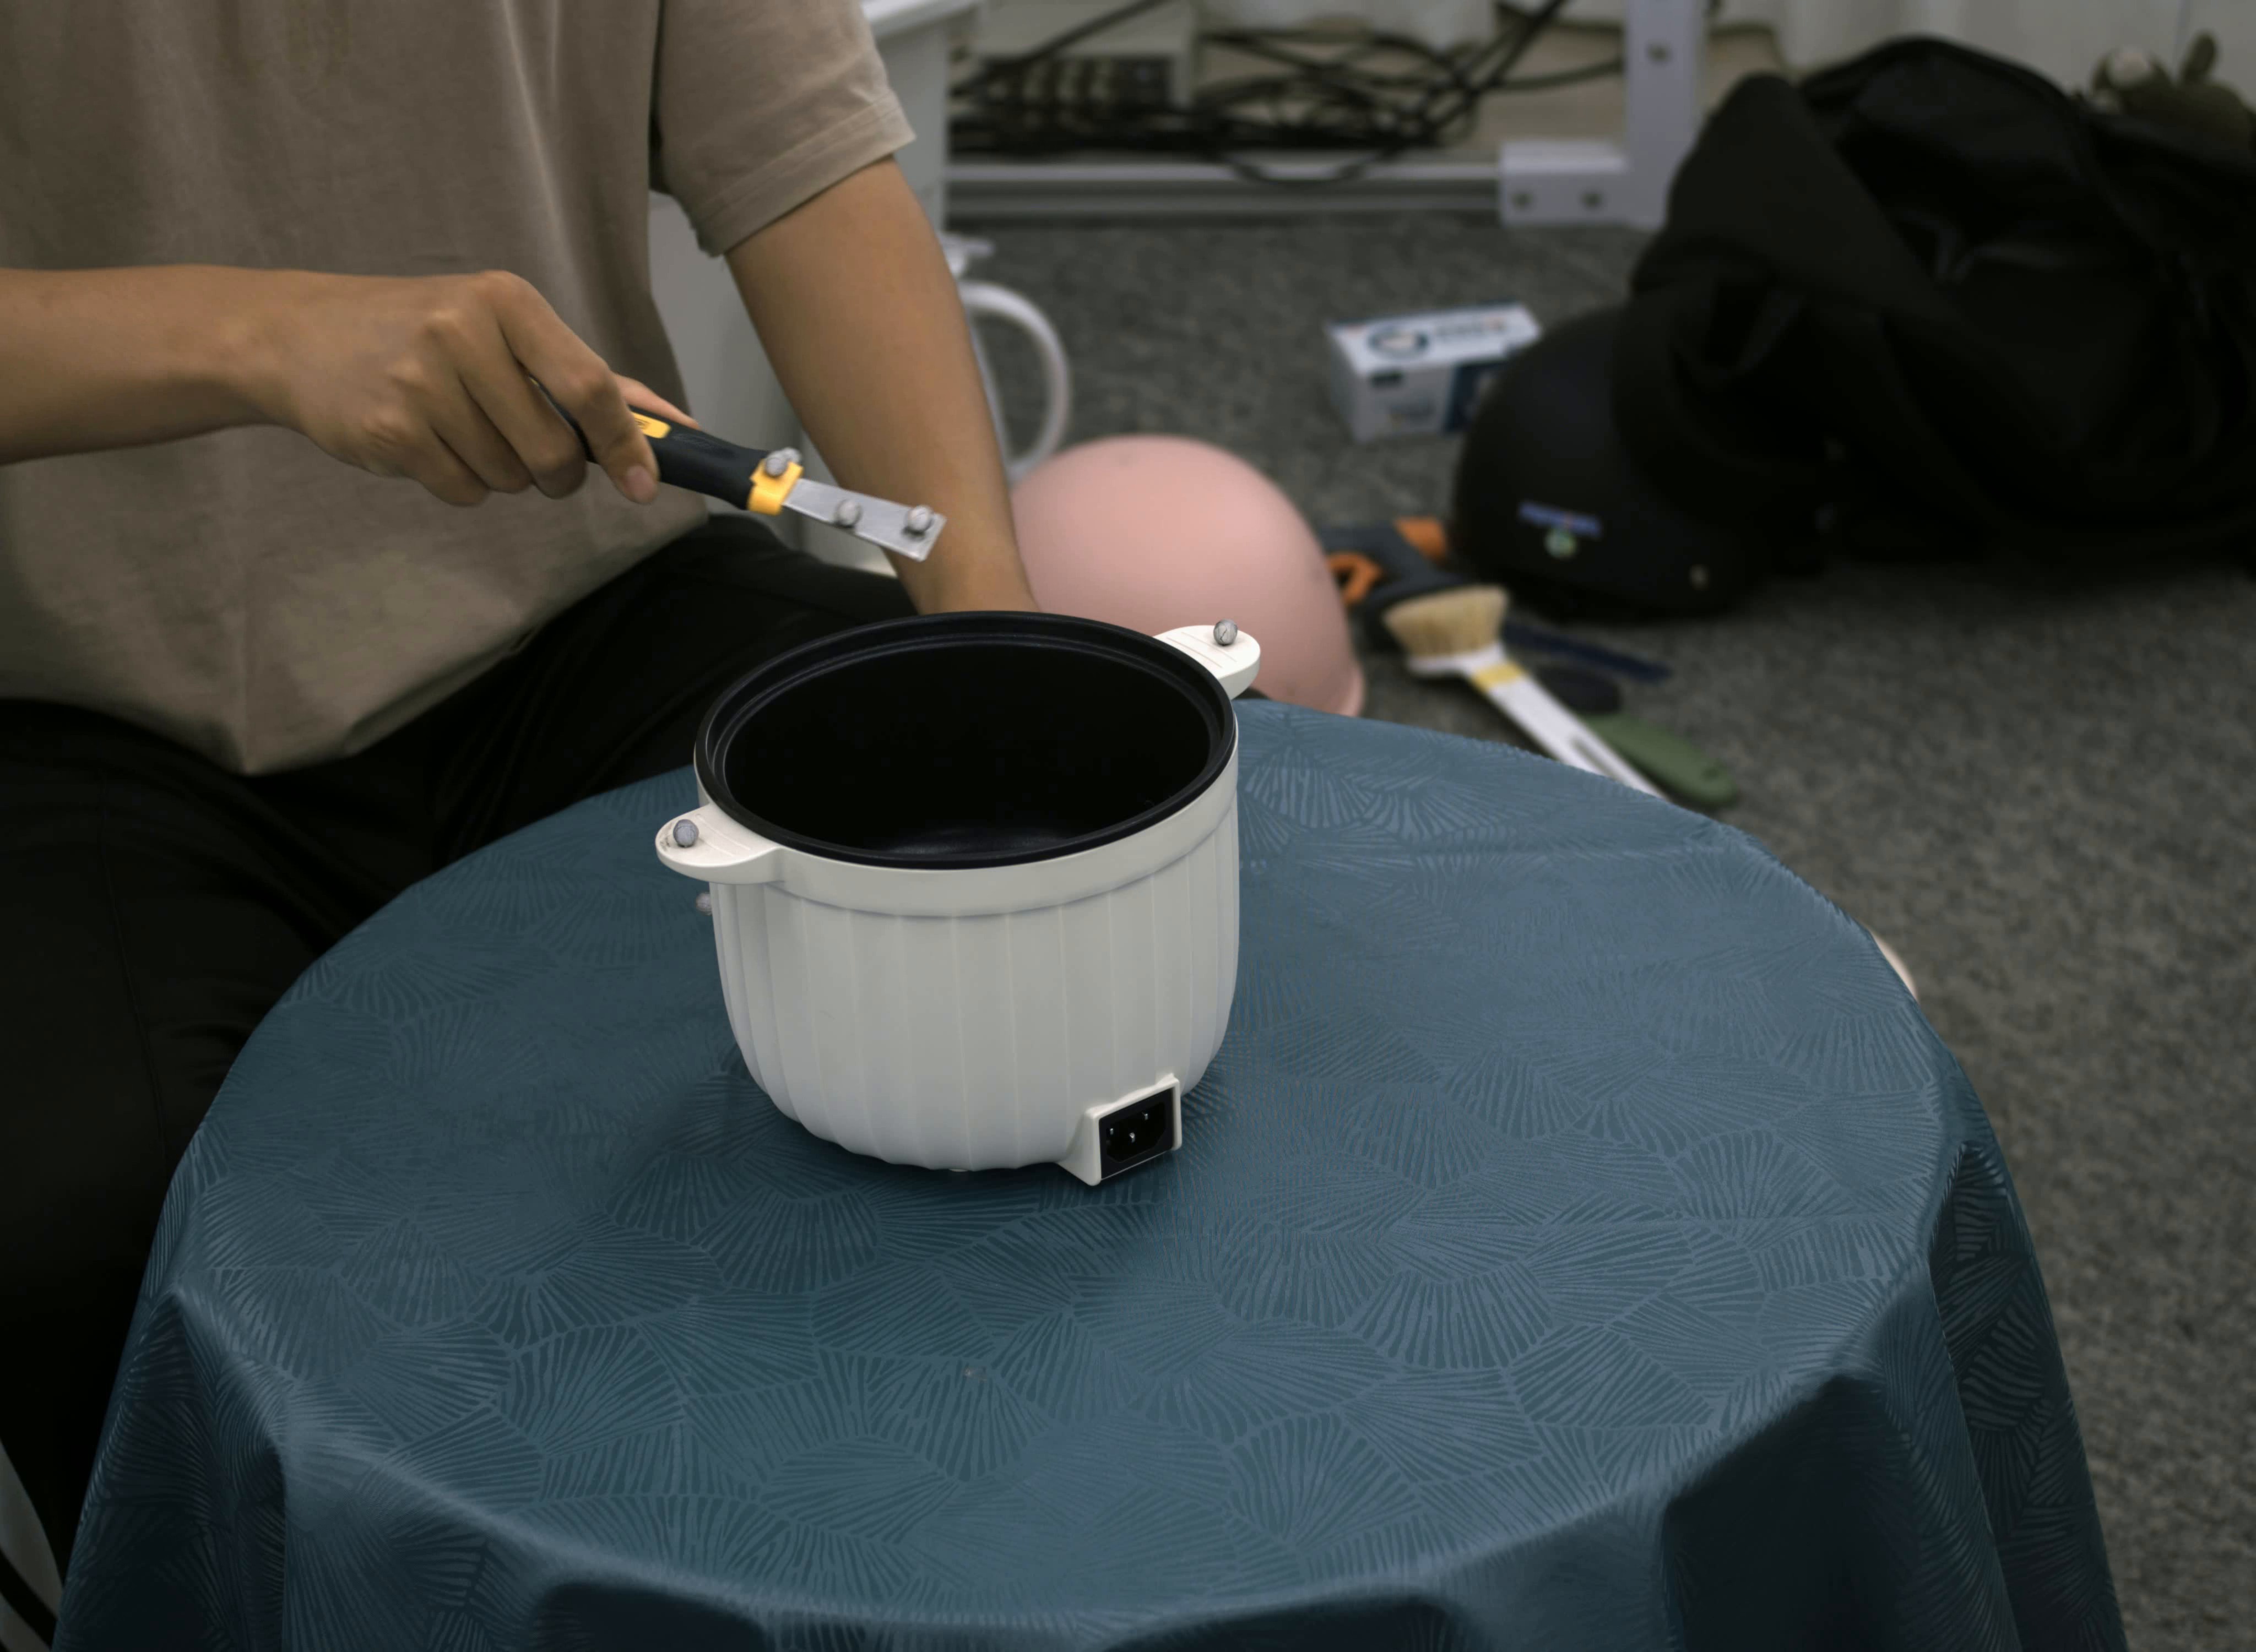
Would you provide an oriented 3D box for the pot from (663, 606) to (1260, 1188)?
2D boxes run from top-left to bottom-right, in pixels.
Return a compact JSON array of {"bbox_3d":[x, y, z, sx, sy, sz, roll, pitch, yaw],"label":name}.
[{"bbox_3d":[-0.055,0.025,1.903,0.242,0.141,0.191,-21,36,-33],"label":"pot"}]

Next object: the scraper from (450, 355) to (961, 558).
[{"bbox_3d":[-0.139,-0.120,1.835,0.170,0.015,0.039,17,35,1],"label":"scraper"}]
